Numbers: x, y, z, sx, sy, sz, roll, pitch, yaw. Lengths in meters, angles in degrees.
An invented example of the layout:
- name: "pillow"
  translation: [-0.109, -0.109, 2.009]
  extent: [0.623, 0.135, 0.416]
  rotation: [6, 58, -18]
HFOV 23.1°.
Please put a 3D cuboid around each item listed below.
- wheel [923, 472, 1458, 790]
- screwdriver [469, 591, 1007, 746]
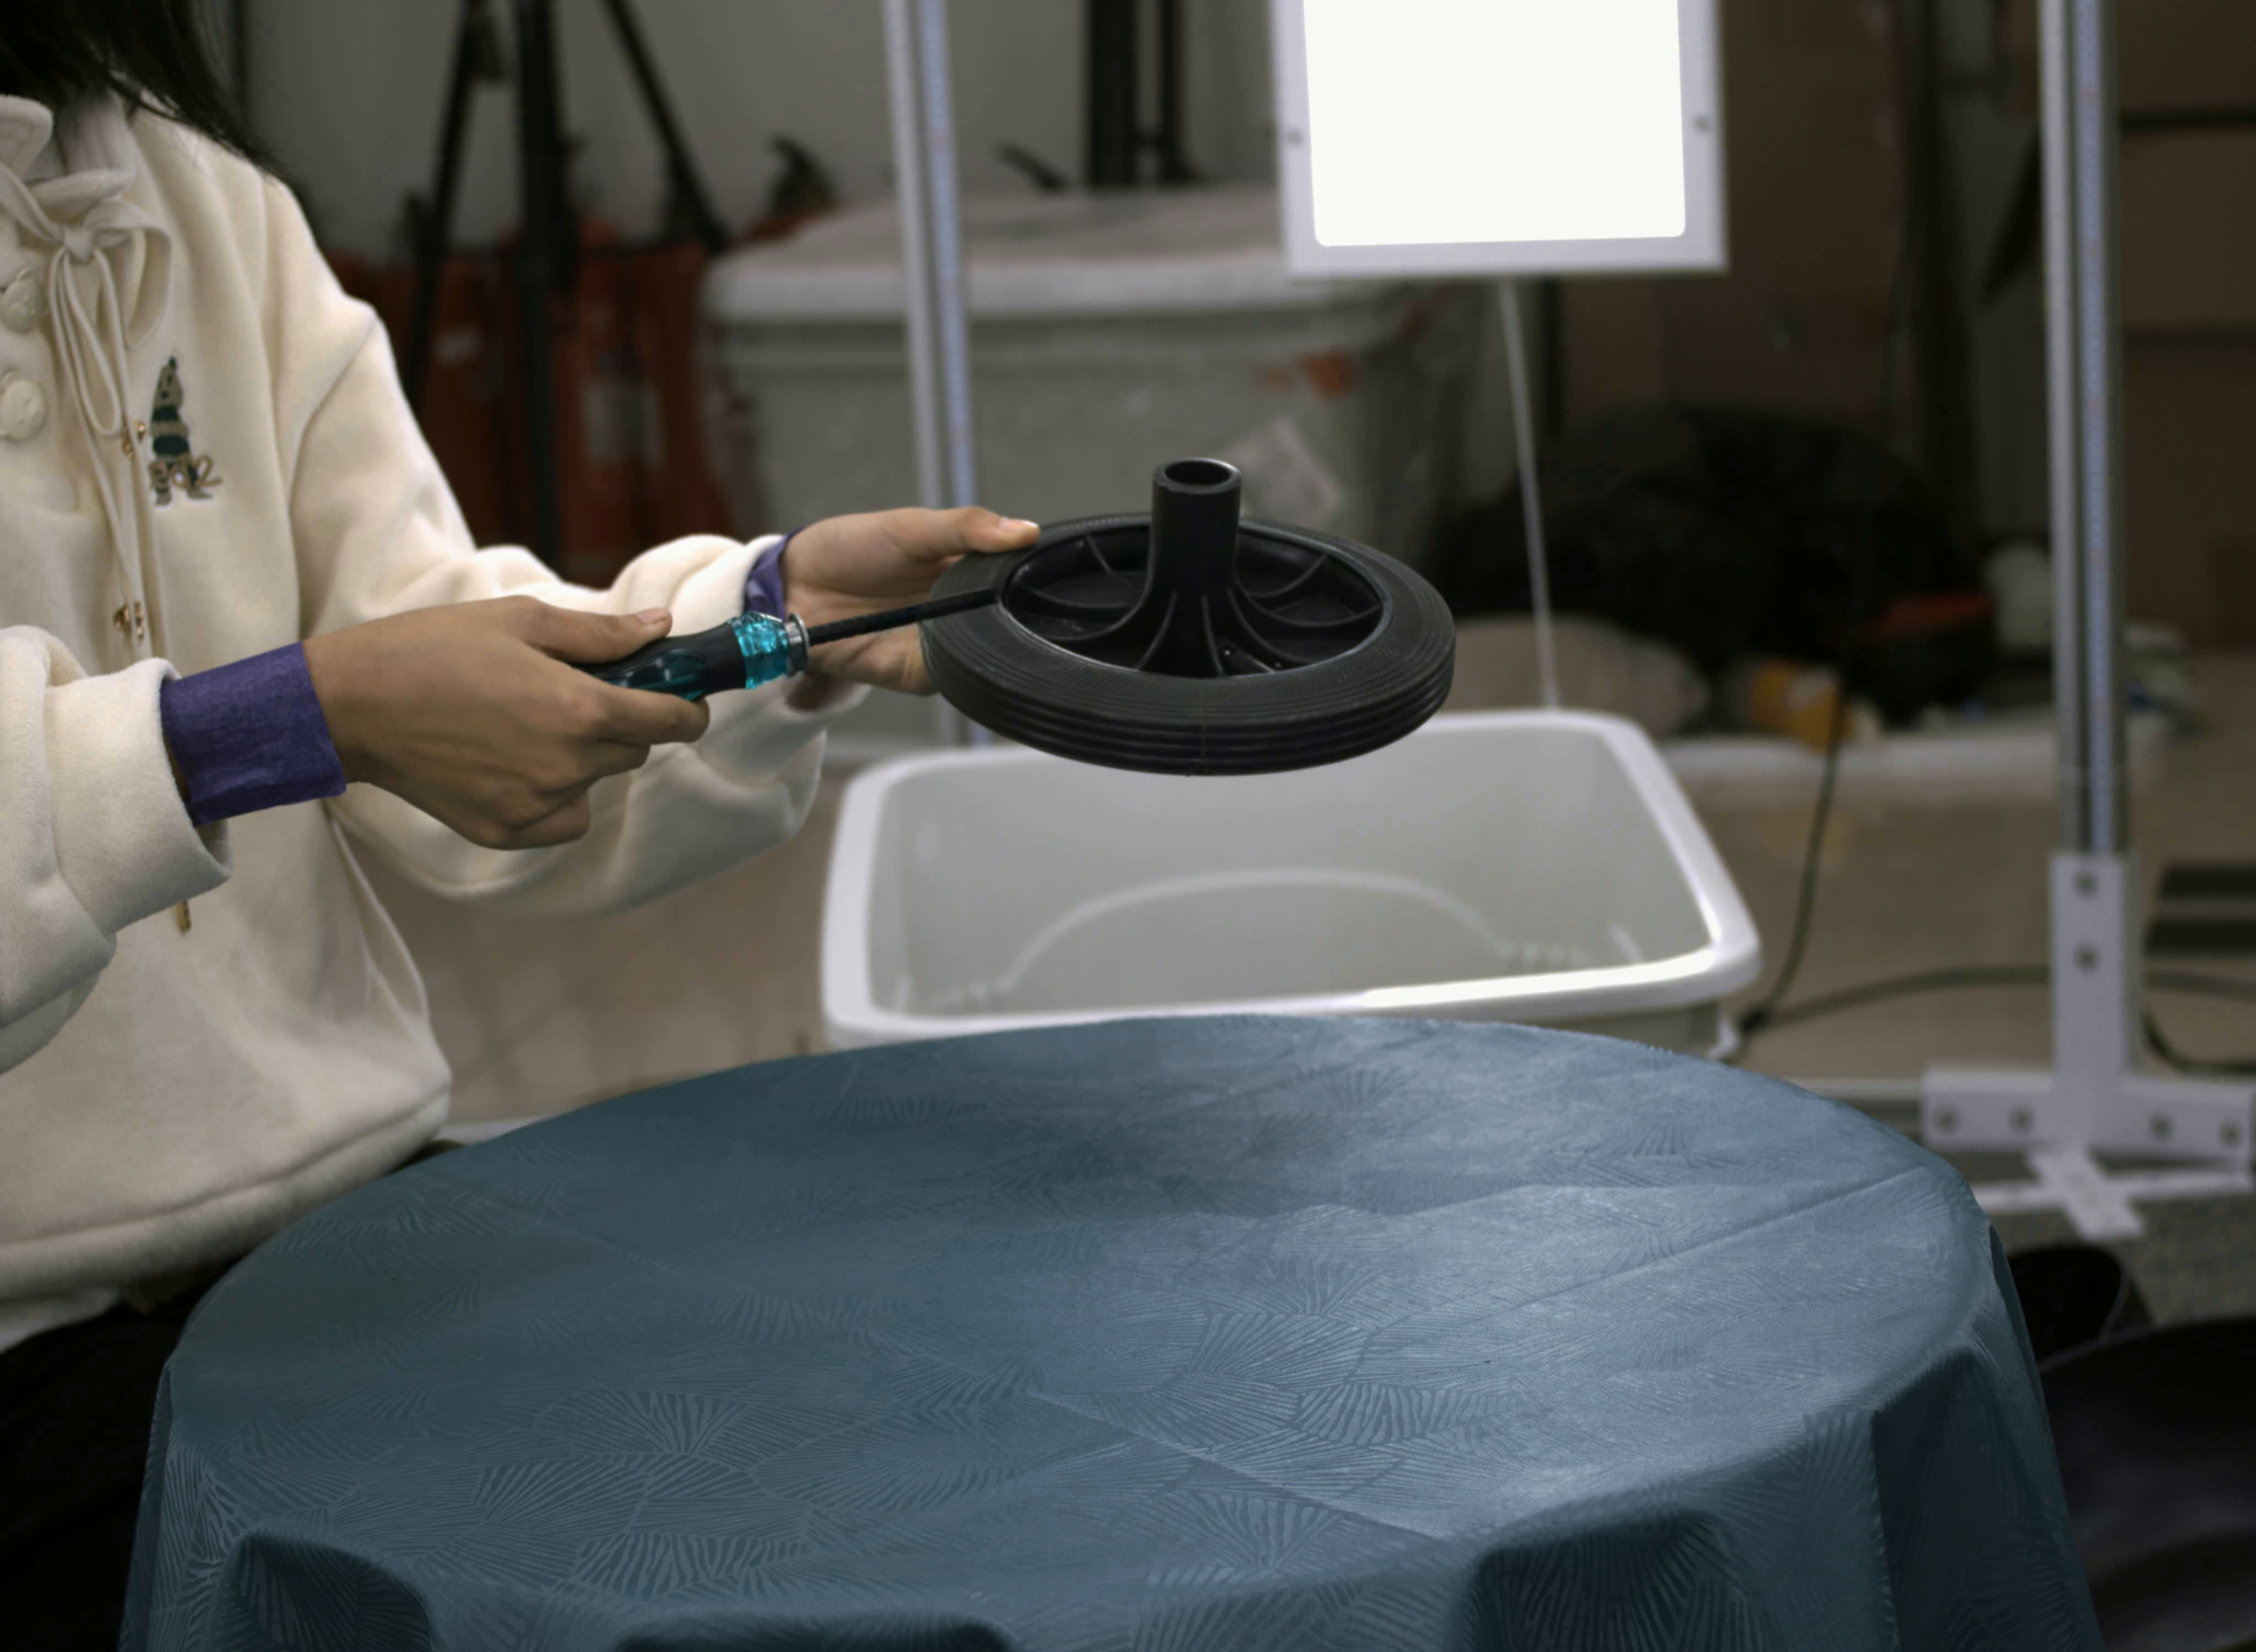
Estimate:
- name: "wheel"
  translation: [0.024, -0.082, 1.930]
  extent: [0.193, 0.080, 0.183]
  rotation: [20, 32, 29]
- name: "screwdriver"
  translation: [-0.129, -0.058, 1.856]
  extent: [0.187, 0.034, 0.034]
  rotation: [-13, 16, -17]
